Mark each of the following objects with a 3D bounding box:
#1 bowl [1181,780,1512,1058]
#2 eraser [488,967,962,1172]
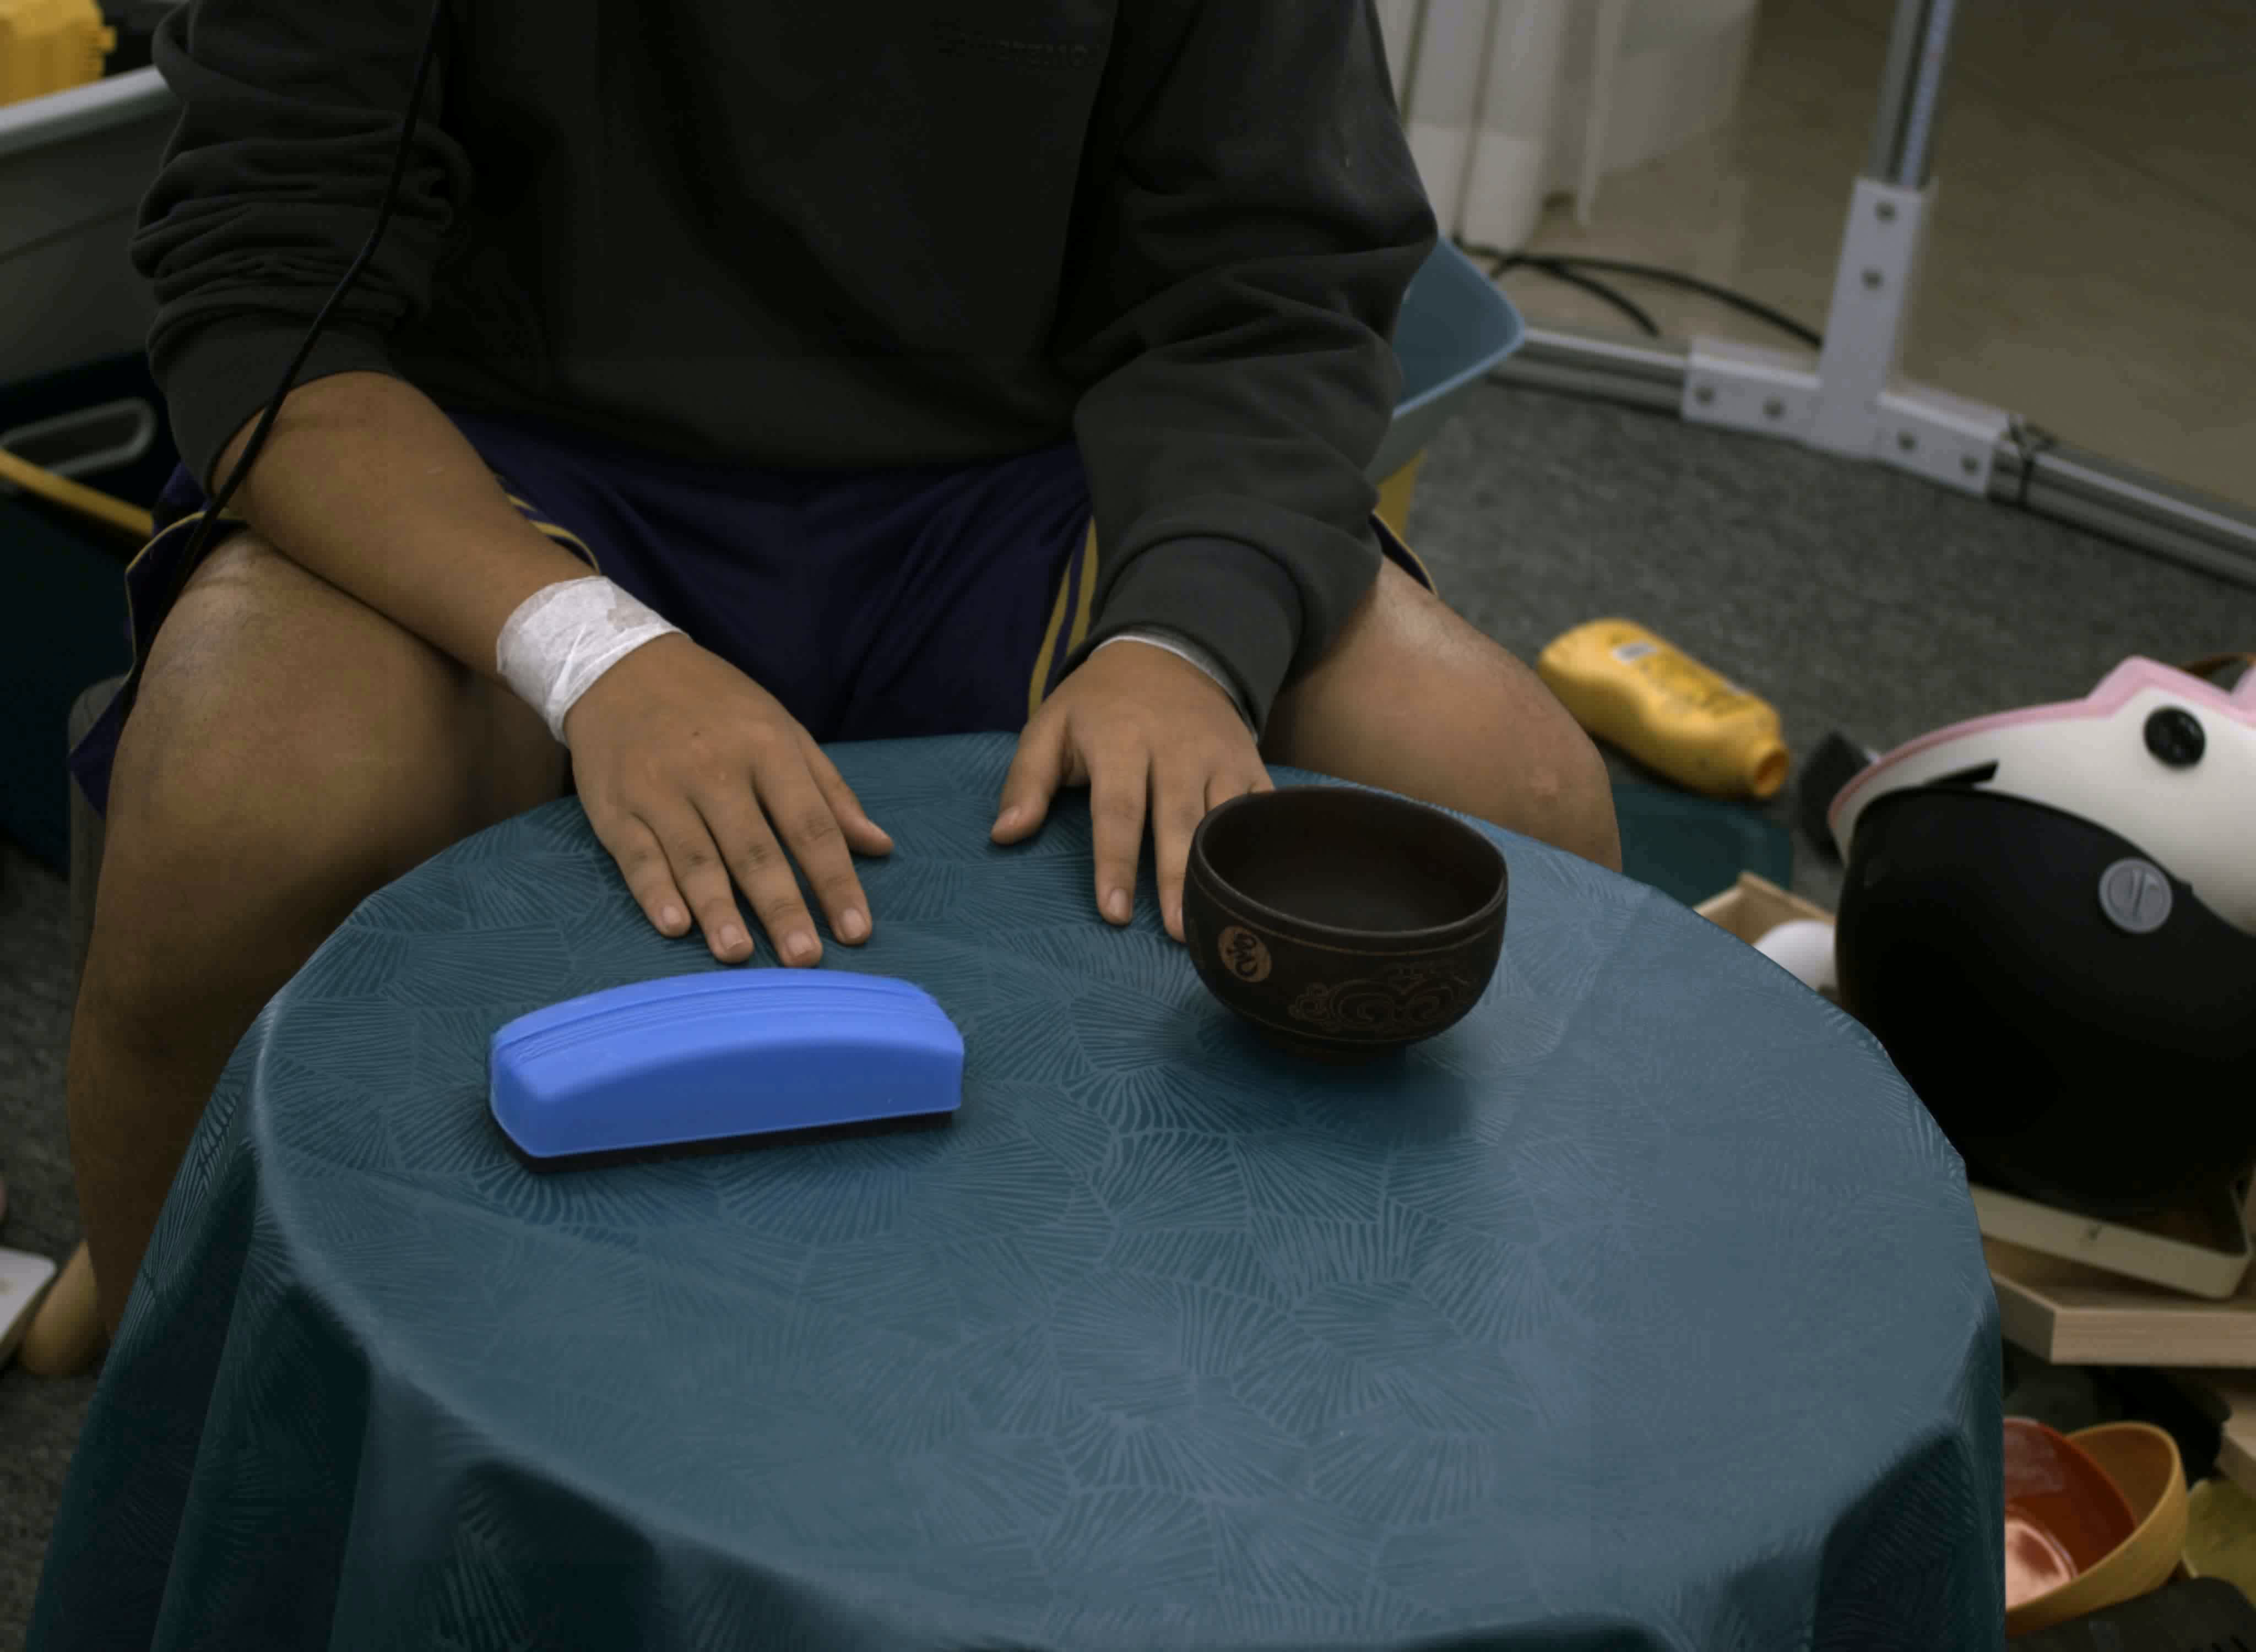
[{"bbox_3d":[0.076,0.039,1.903,0.117,0.069,0.119,4,26,-3],"label":"bowl"},{"bbox_3d":[-0.136,0.079,1.808,0.161,0.047,0.054,-6,31,-23],"label":"eraser"}]
